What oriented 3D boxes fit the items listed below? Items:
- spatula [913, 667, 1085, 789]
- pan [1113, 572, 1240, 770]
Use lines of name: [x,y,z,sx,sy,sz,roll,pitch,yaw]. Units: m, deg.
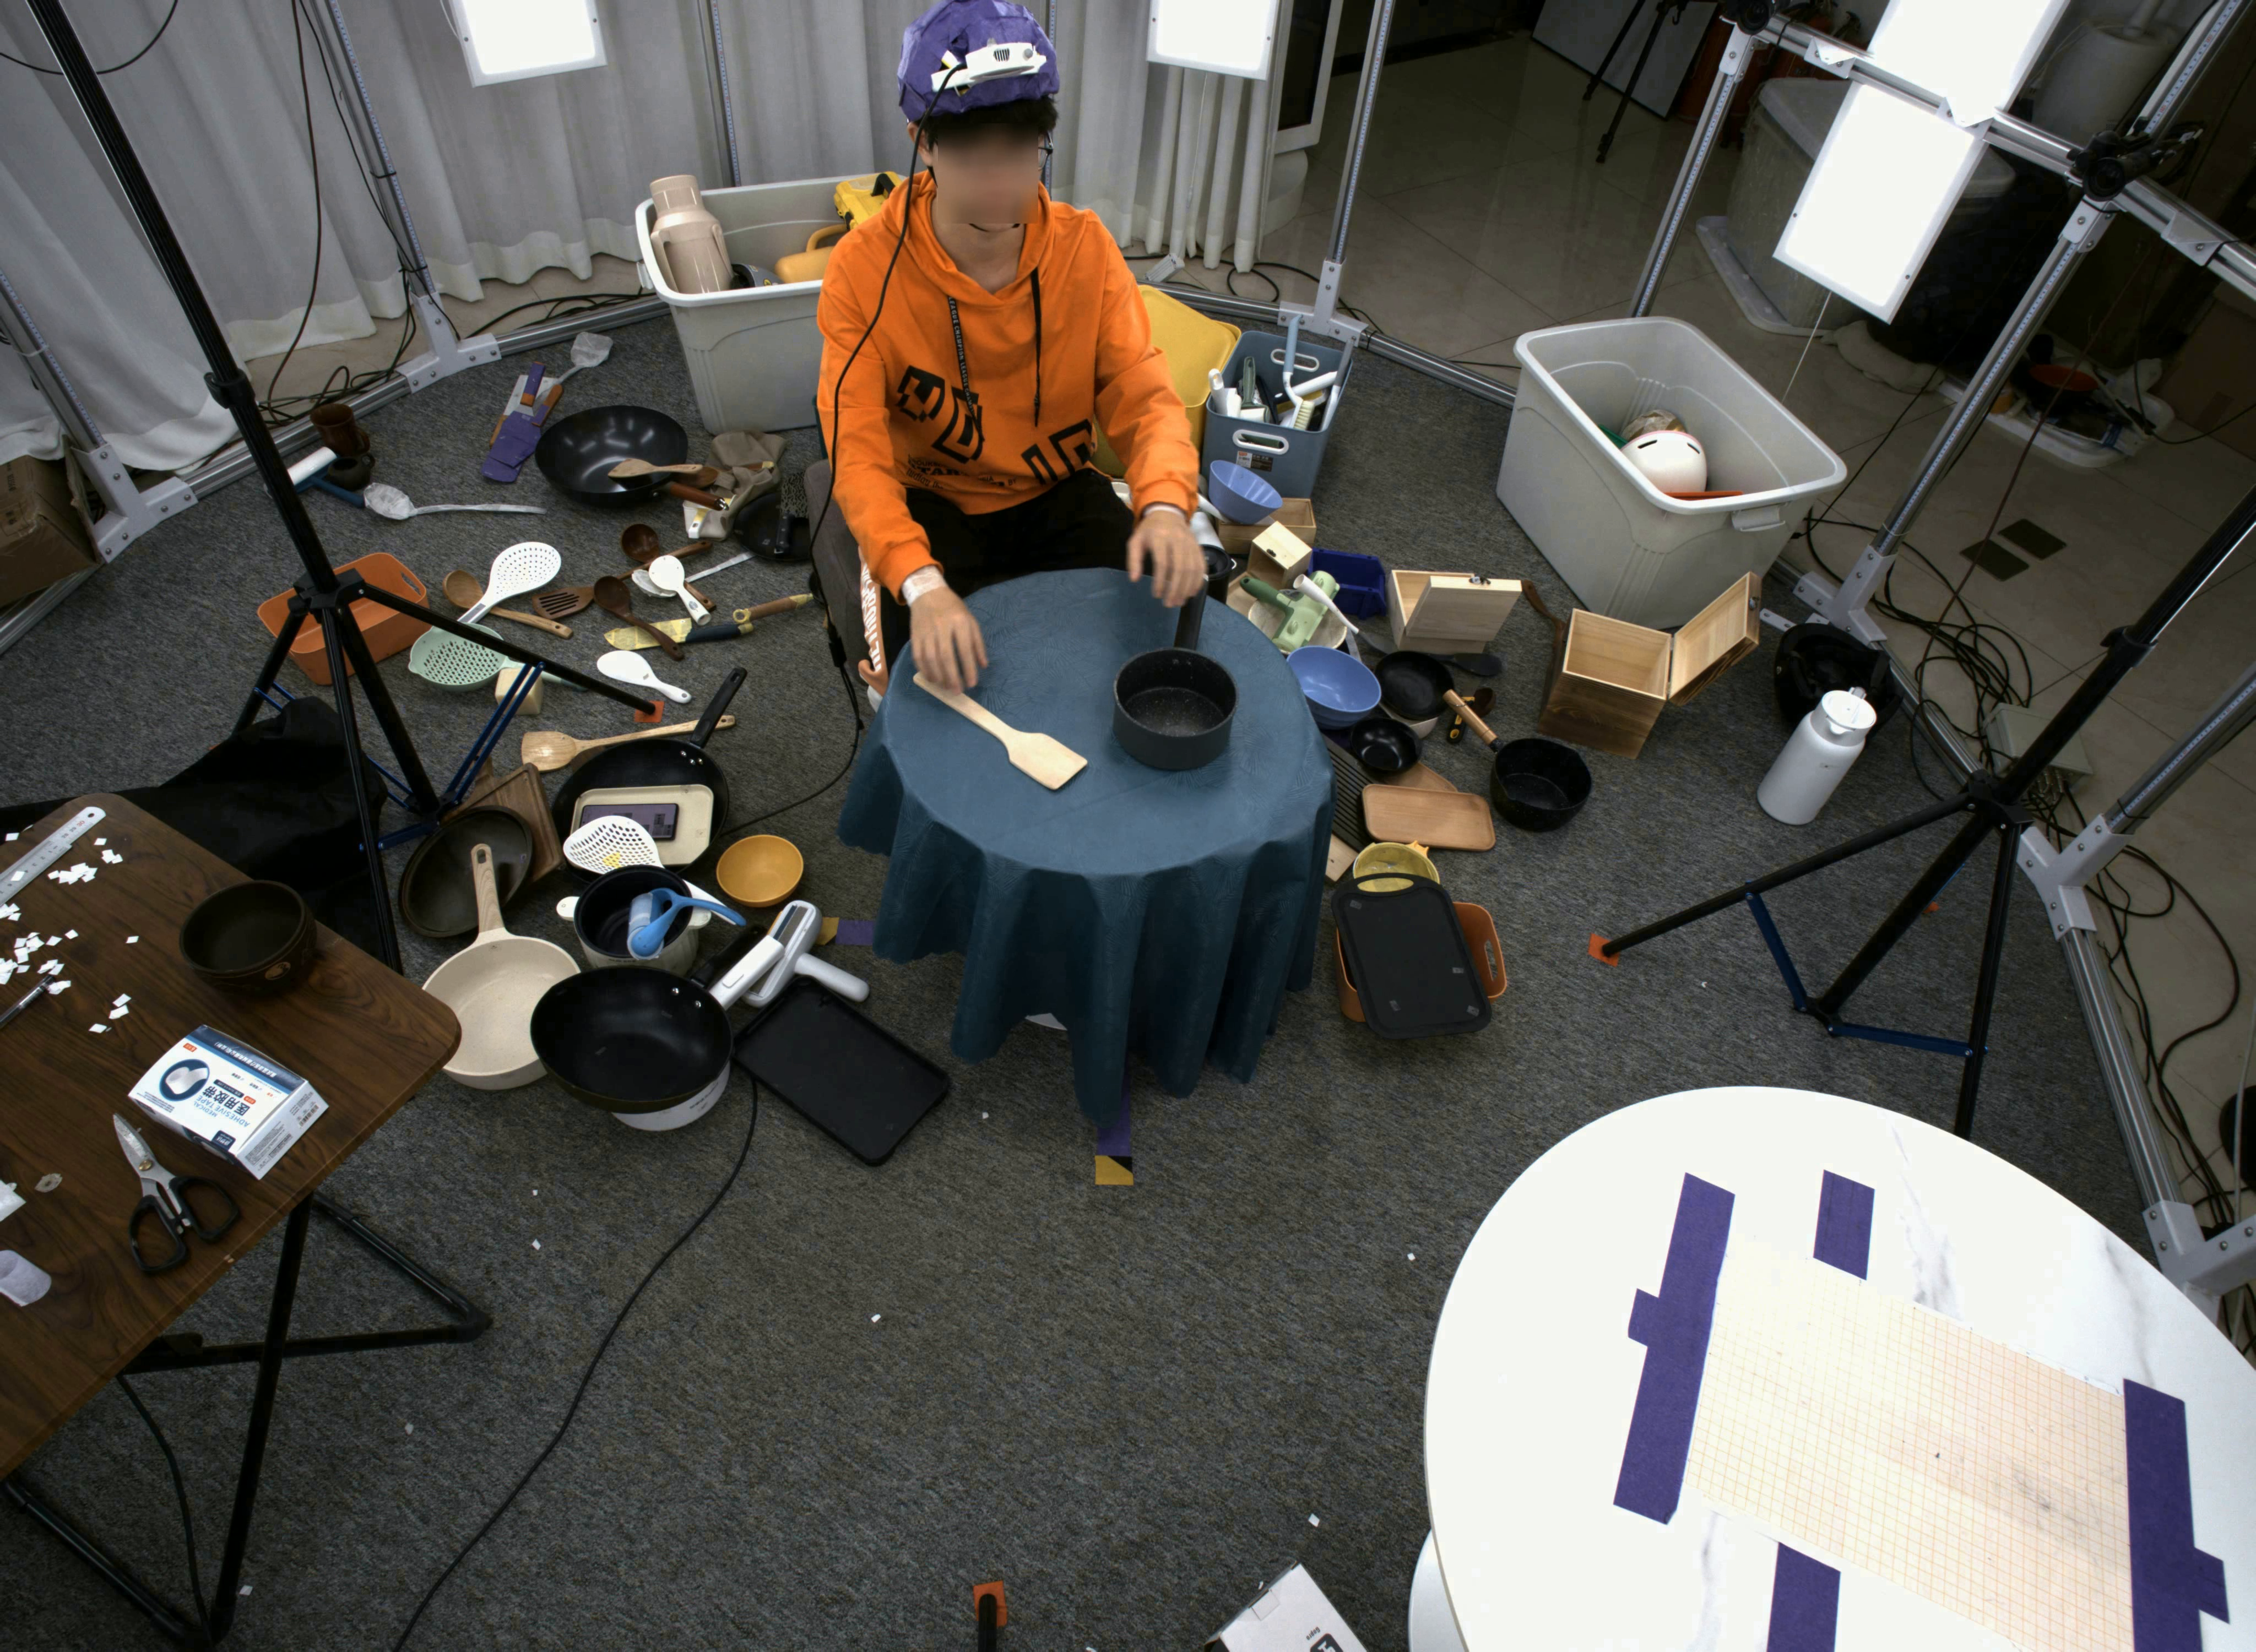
spatula: [-0.189,-0.142,1.773,0.297,0.010,0.073,35,59,24]
pan: [0.079,-0.222,1.813,0.172,0.084,0.336,11,51,5]
